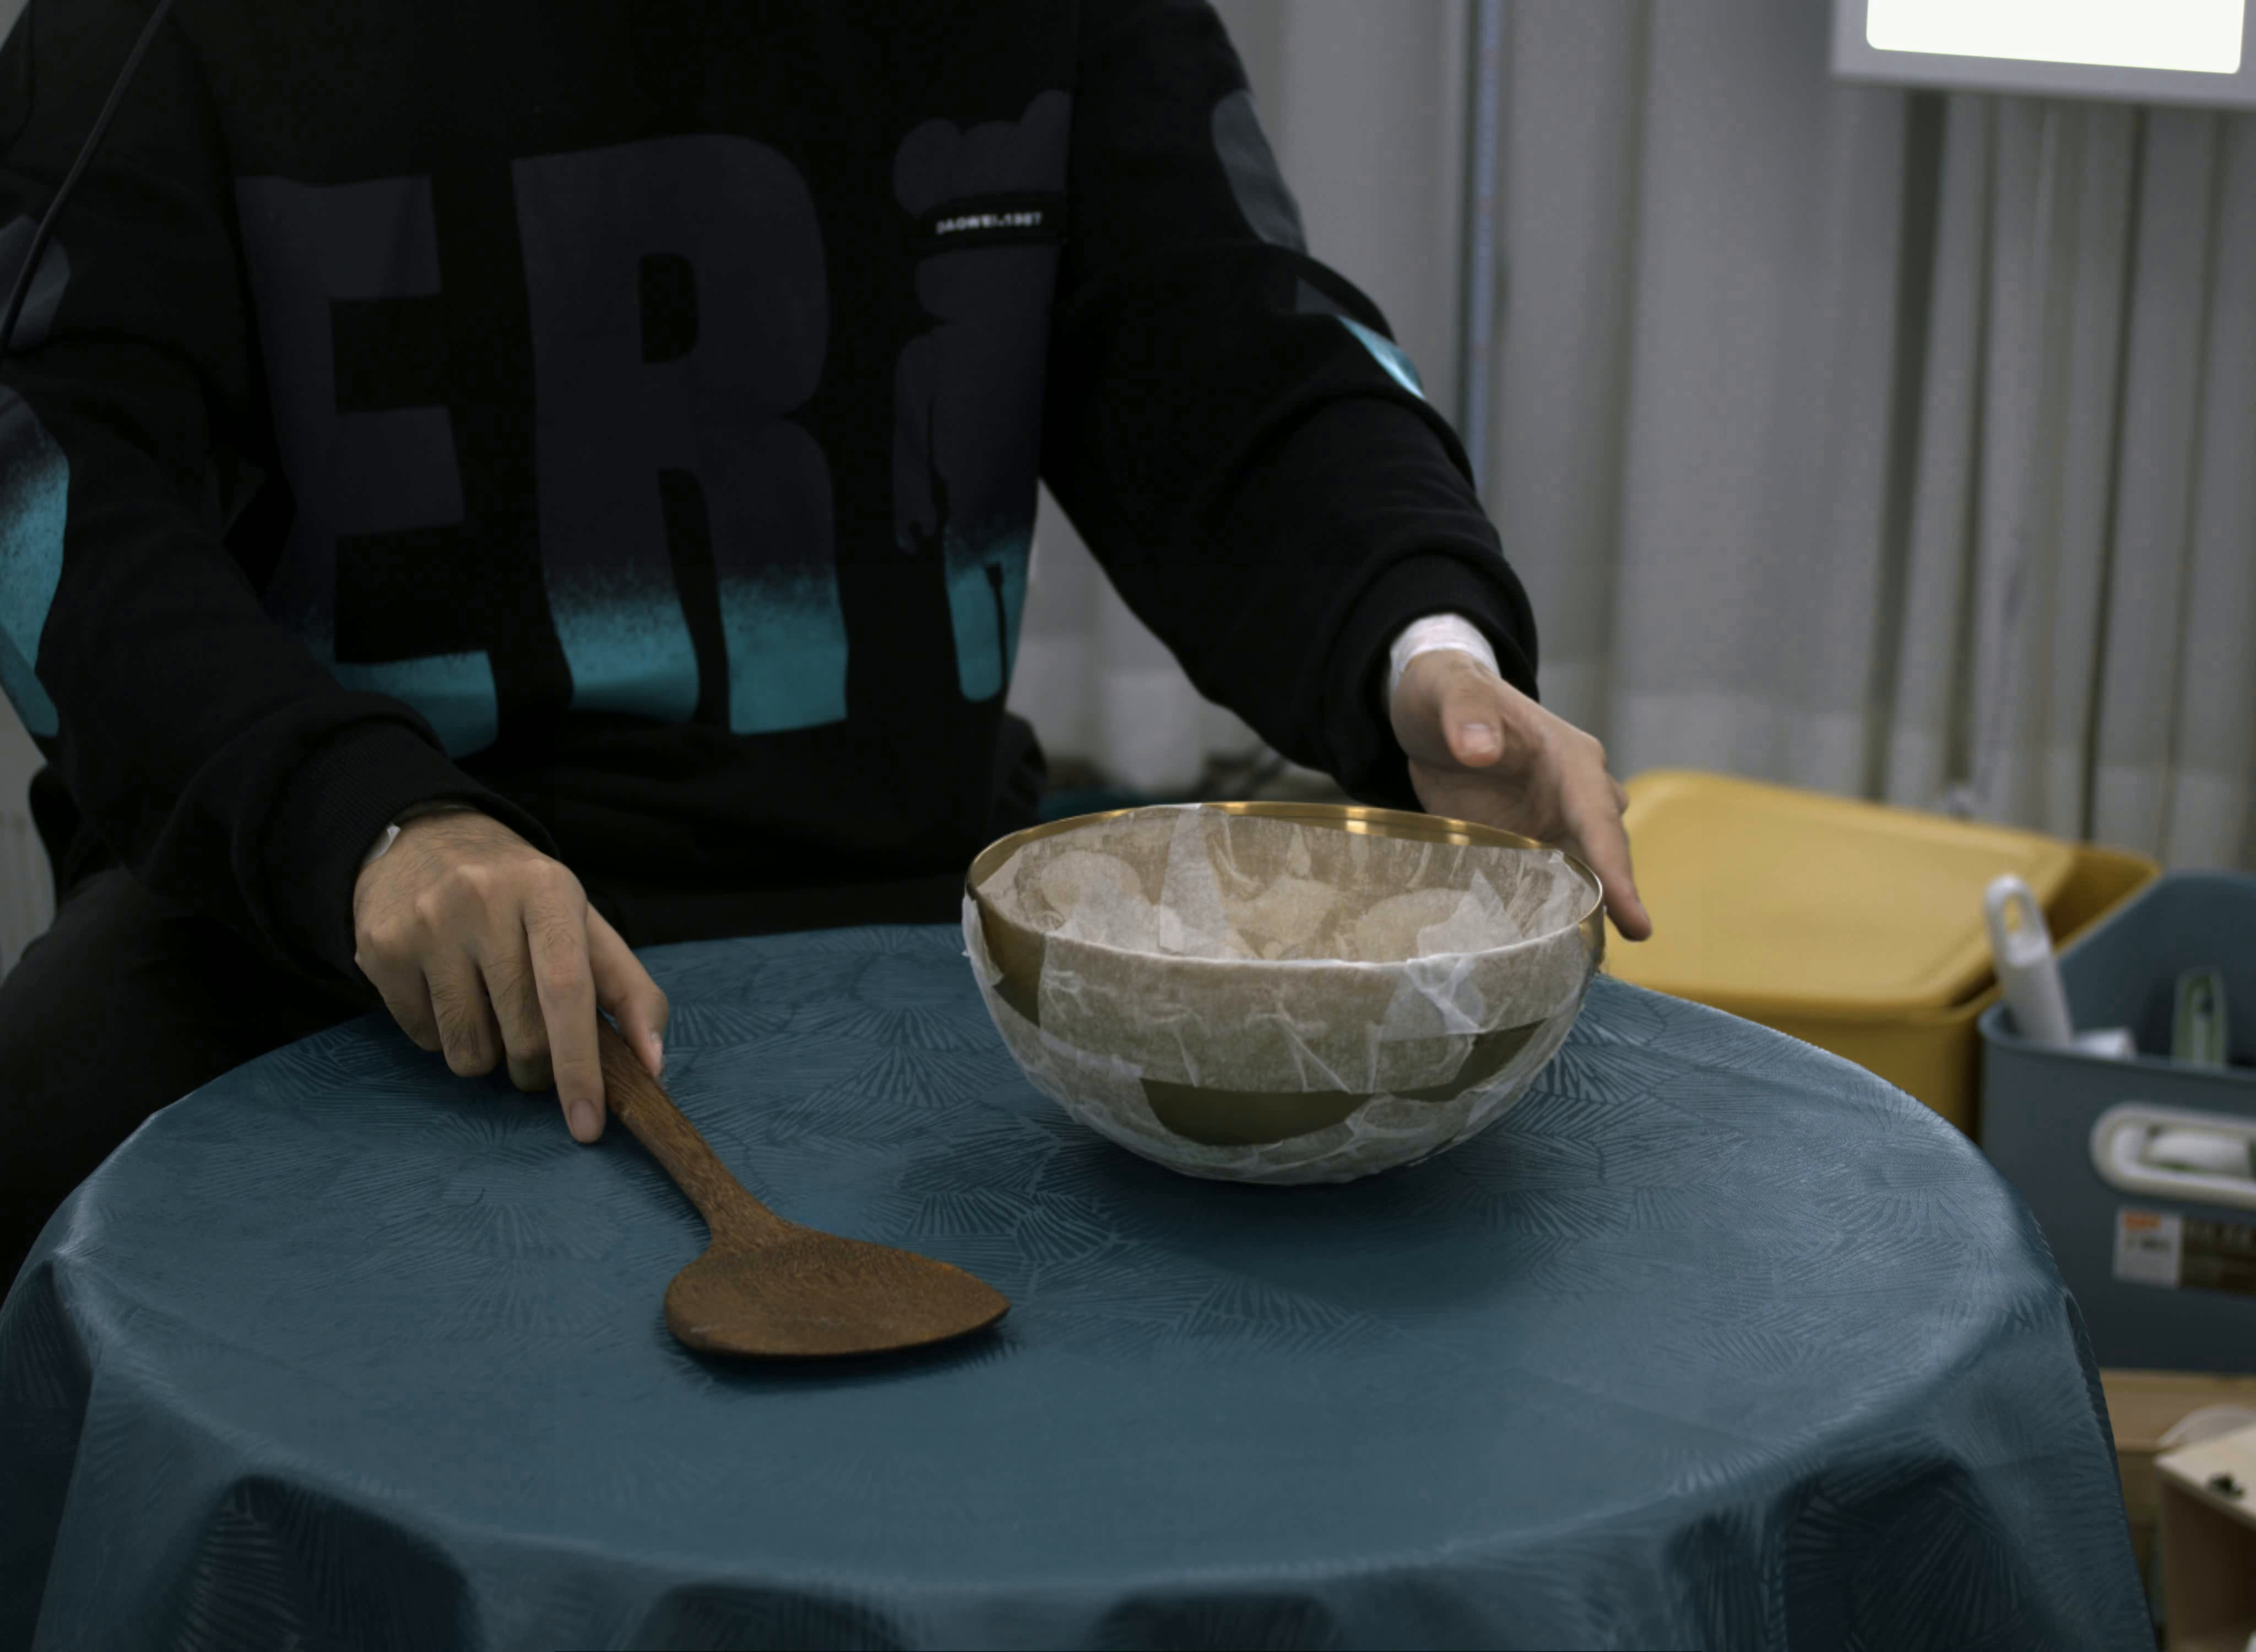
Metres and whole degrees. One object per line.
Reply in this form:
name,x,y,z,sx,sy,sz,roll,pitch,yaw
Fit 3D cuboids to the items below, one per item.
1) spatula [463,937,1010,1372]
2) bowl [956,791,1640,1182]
spatula,-0.144,0.095,1.638,0.096,0.016,0.381,-5,20,-23
bowl,0.050,0.057,1.648,0.214,0.095,0.214,1,14,0
